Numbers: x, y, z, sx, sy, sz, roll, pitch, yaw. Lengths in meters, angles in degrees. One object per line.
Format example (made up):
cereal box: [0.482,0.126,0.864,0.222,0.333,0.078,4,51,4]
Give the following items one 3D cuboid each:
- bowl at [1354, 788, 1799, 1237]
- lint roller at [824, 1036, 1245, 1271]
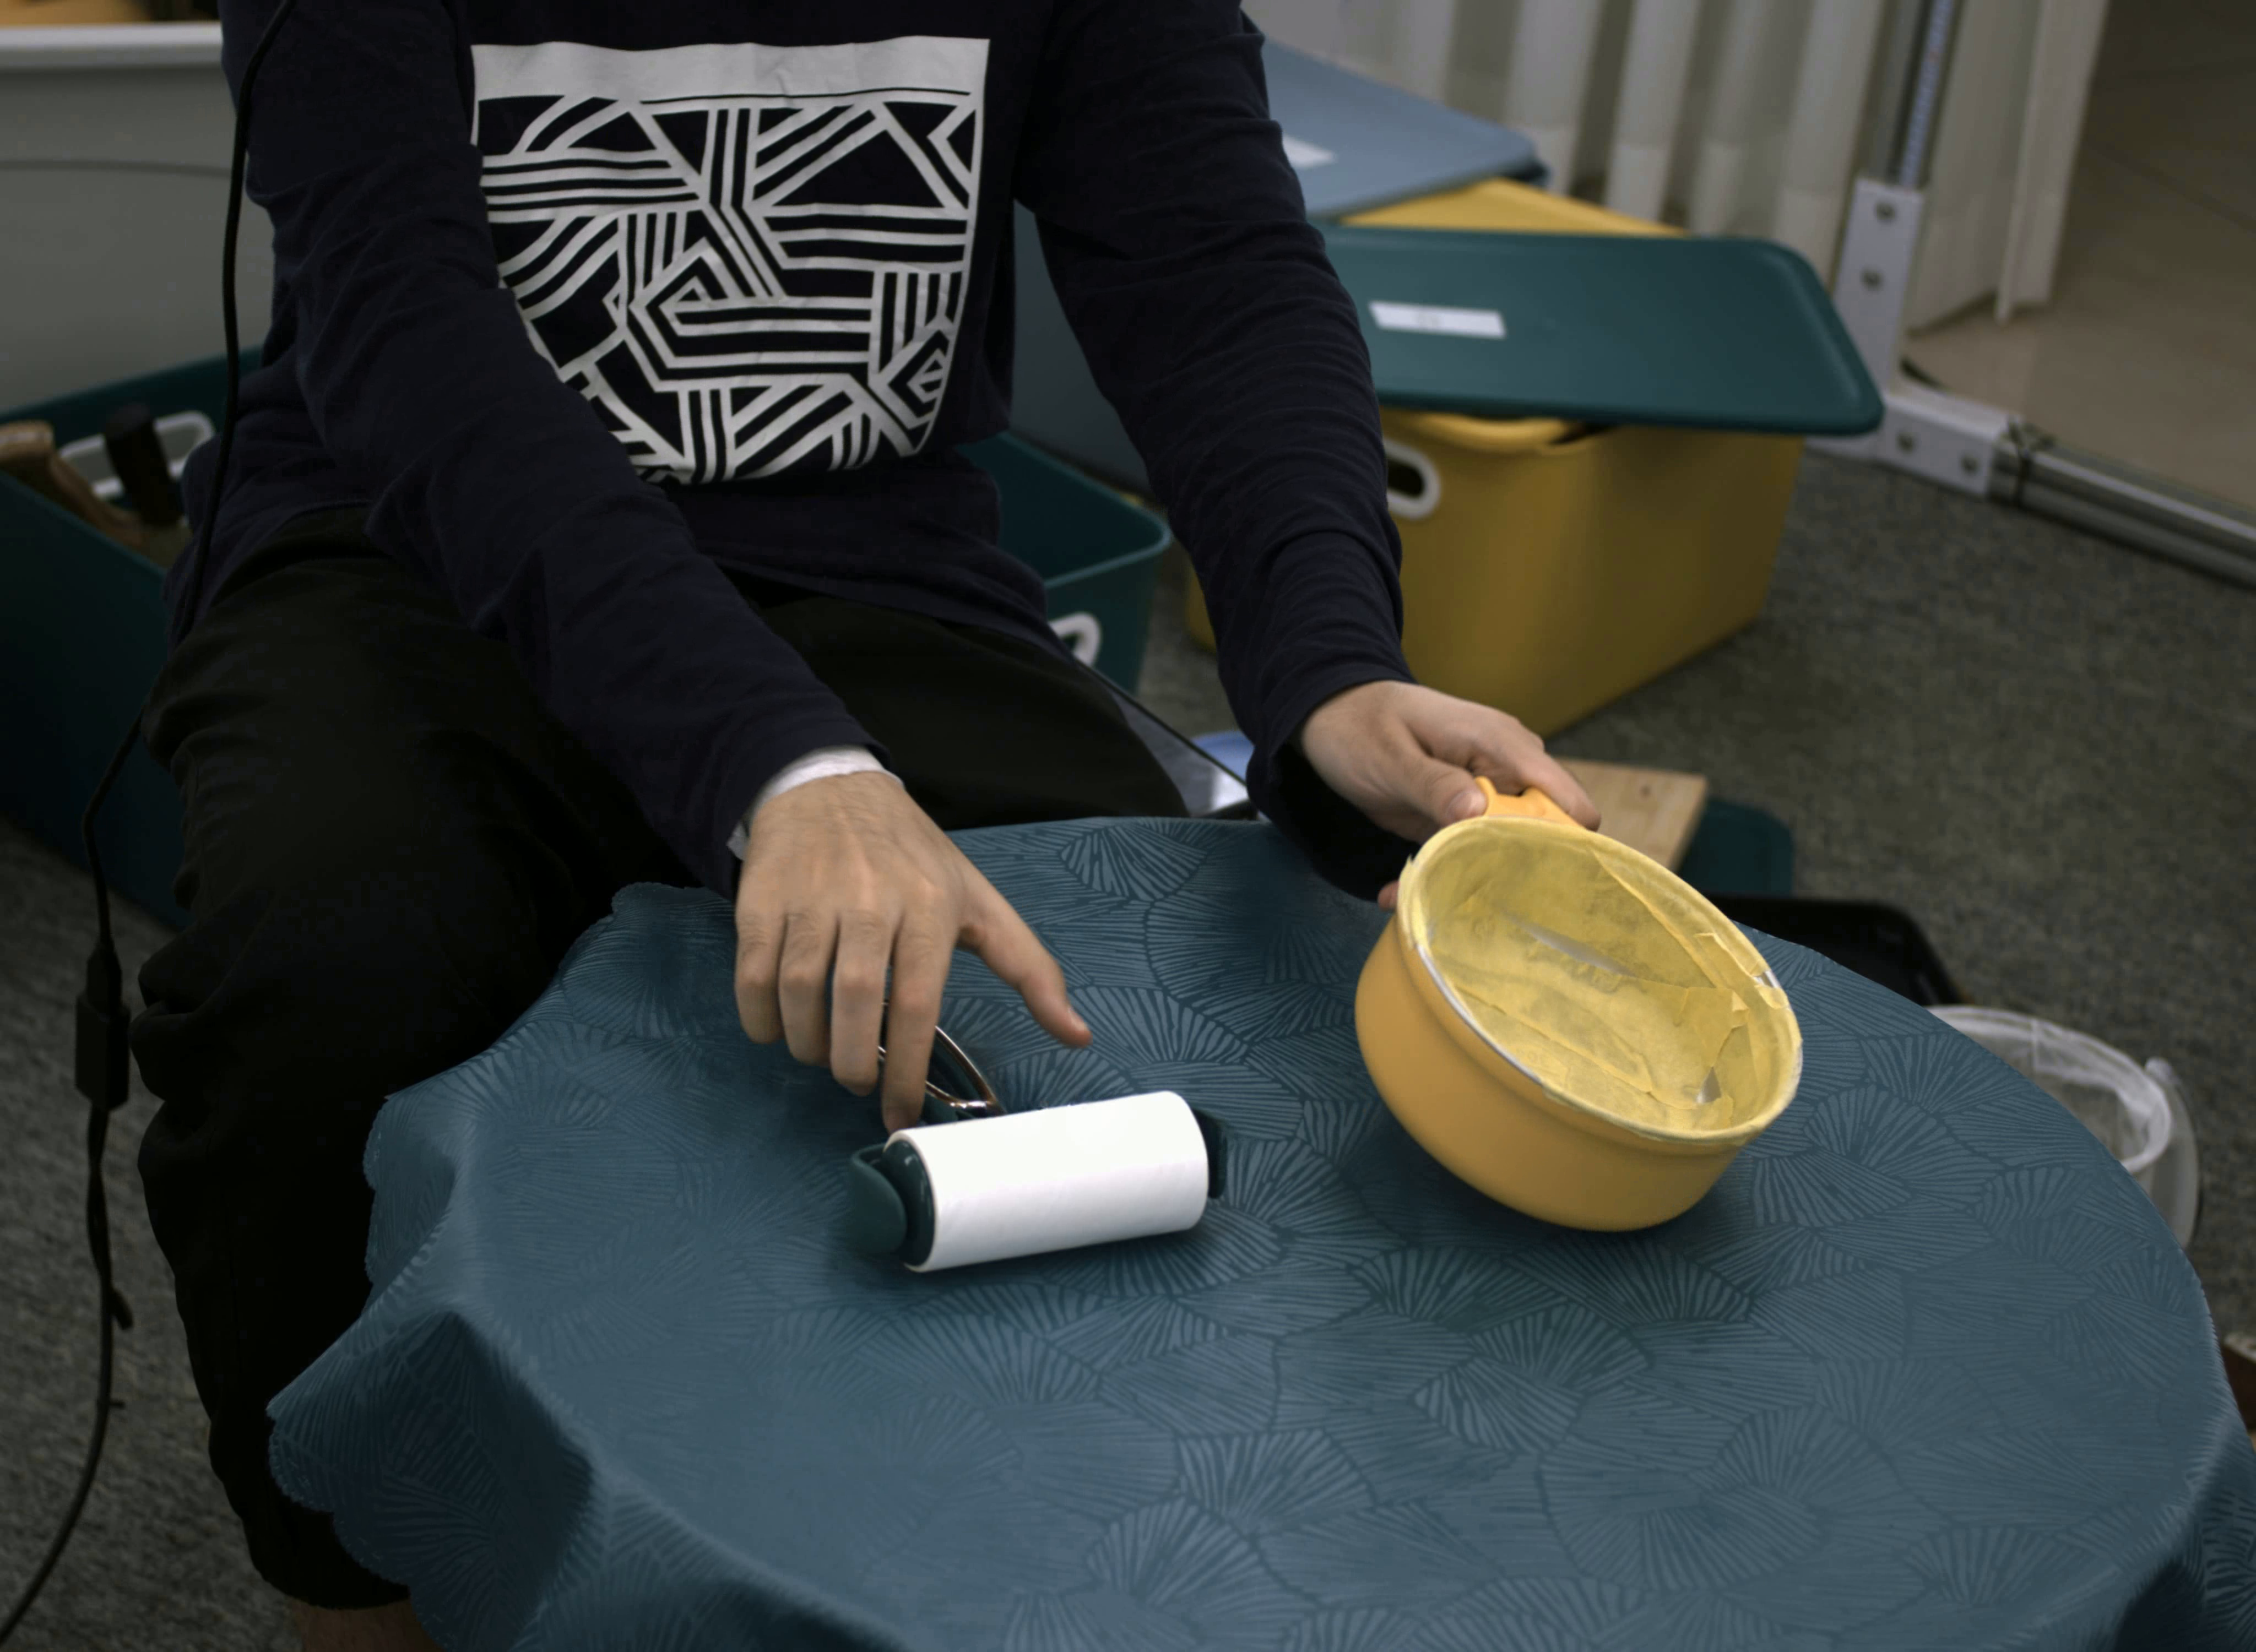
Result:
bowl: [0.146,0.065,1.841,0.152,0.074,0.181,3,42,-32]
lint roller: [-0.058,0.092,1.814,0.133,0.048,0.181,-8,26,-25]
